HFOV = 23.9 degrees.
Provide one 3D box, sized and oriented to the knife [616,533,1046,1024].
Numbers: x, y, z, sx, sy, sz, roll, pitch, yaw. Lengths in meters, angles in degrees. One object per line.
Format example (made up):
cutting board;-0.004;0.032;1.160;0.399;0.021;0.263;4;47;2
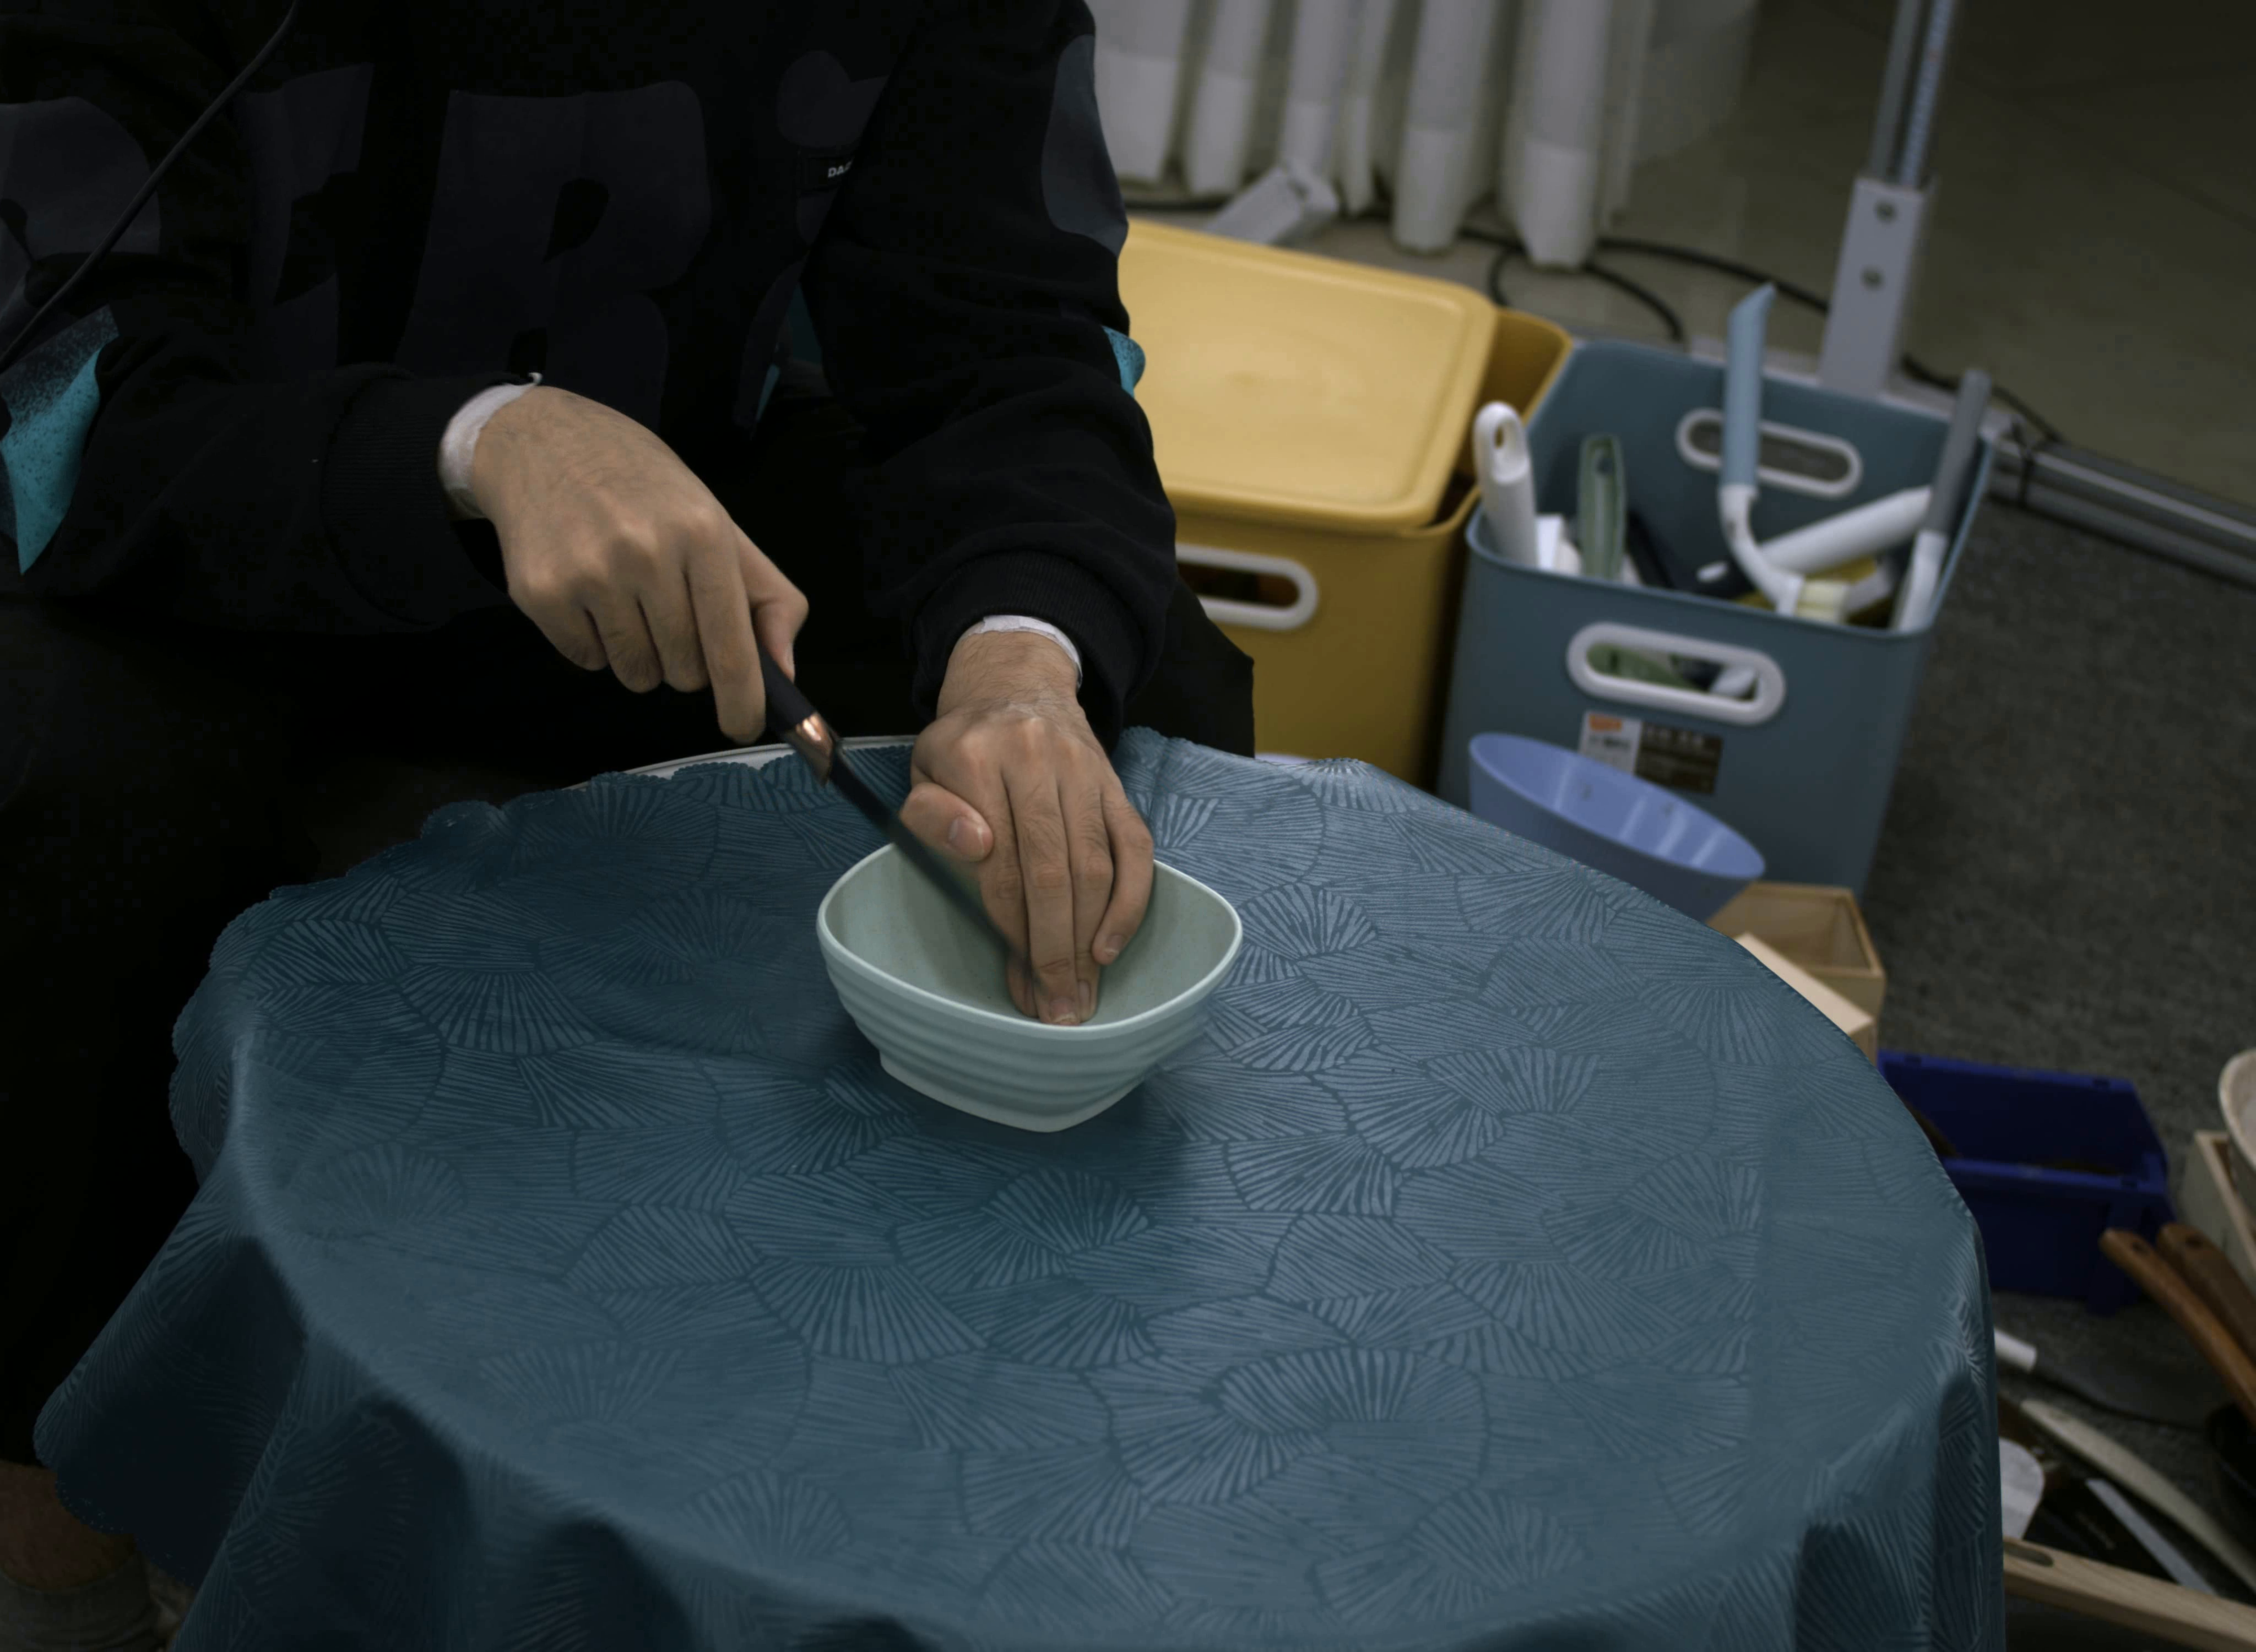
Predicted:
knife;-0.101;-0.015;1.845;0.017;0.026;0.226;-37;80;-28

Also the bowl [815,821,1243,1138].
bowl;-0.036;0.059;1.861;0.151;0.058;0.152;4;28;-3
